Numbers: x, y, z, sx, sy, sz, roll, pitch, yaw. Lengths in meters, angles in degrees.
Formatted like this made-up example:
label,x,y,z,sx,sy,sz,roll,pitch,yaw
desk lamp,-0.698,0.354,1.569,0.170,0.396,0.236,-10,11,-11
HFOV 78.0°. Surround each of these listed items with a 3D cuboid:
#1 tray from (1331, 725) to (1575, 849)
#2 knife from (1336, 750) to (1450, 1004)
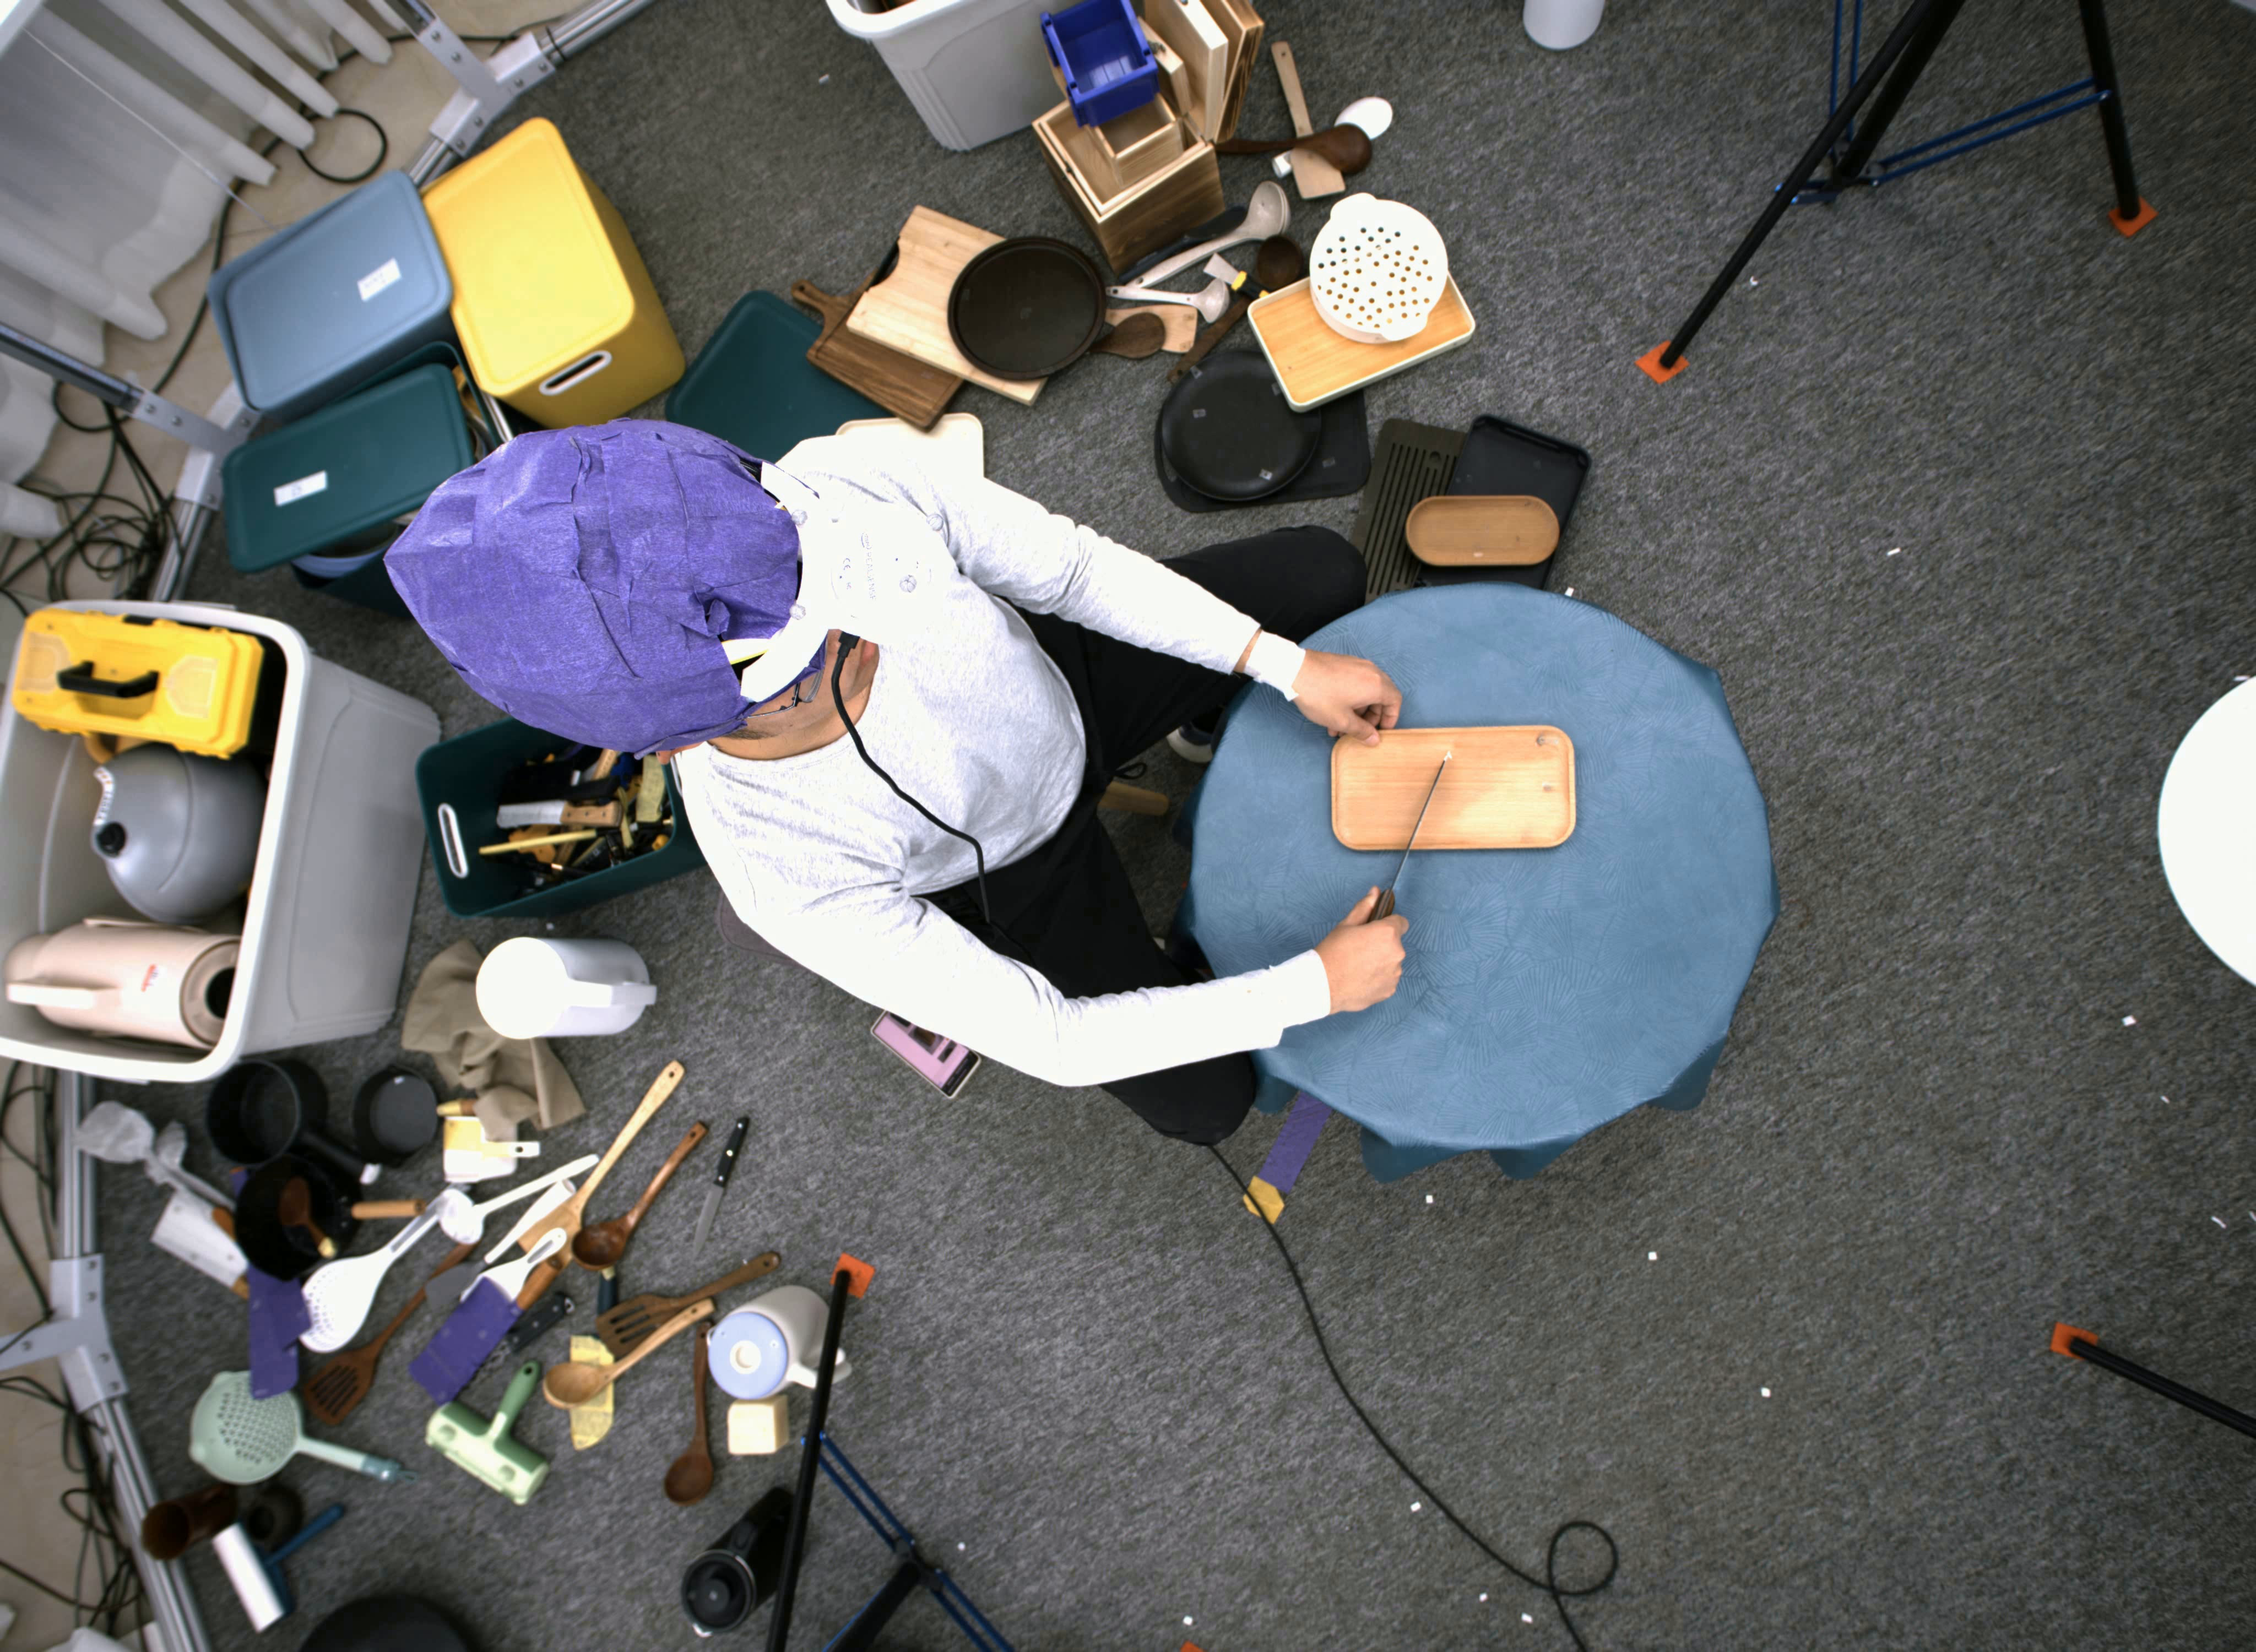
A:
label,x,y,z,sx,sy,sz,roll,pitch,yaw
tray,0.339,-0.042,1.443,0.252,0.023,0.130,0,87,11
knife,0.277,0.049,1.418,0.020,0.050,0.287,23,84,12
